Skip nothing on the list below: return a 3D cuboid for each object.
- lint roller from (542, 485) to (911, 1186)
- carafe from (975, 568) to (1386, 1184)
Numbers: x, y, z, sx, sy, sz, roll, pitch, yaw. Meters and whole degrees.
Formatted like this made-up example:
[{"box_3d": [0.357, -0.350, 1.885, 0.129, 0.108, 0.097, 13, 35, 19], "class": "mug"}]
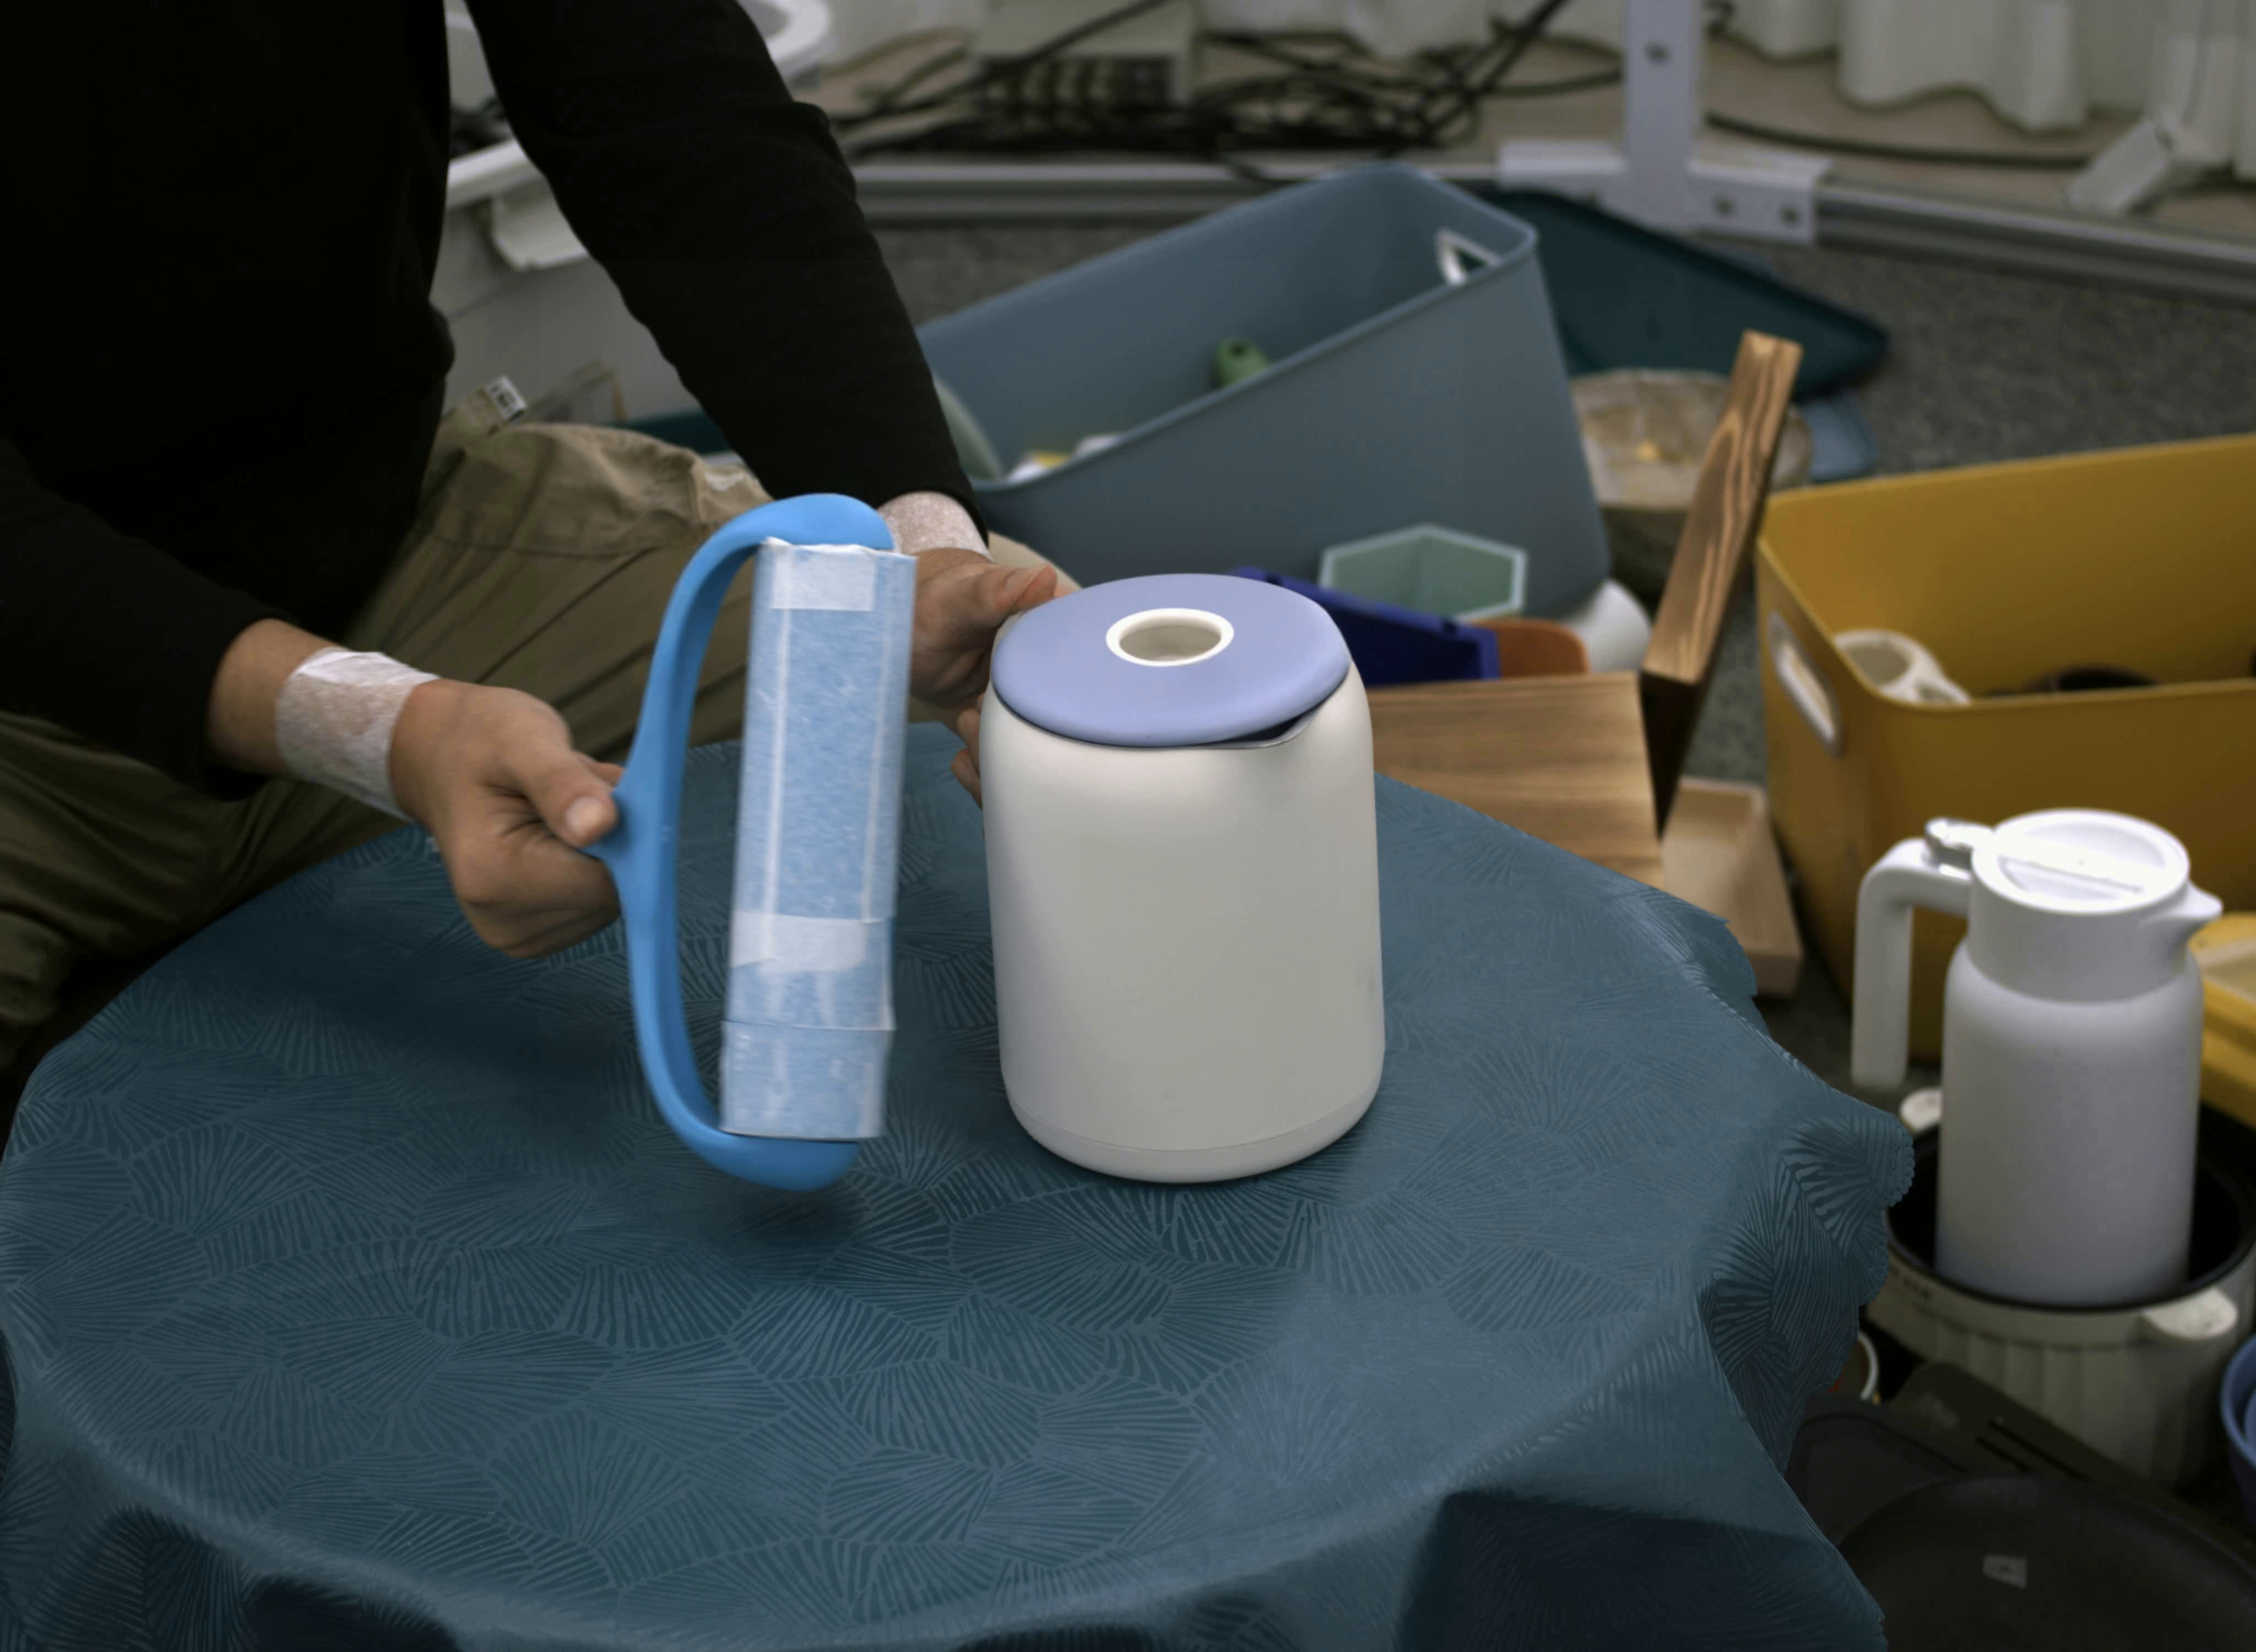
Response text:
[{"box_3d": [-0.149, 0.003, 1.879, 0.178, 0.230, 0.068, -1, -4, 40], "class": "lint roller"}, {"box_3d": [0.005, 0.008, 1.896, 0.133, 0.181, 0.191, -18, 28, -28], "class": "carafe"}]
